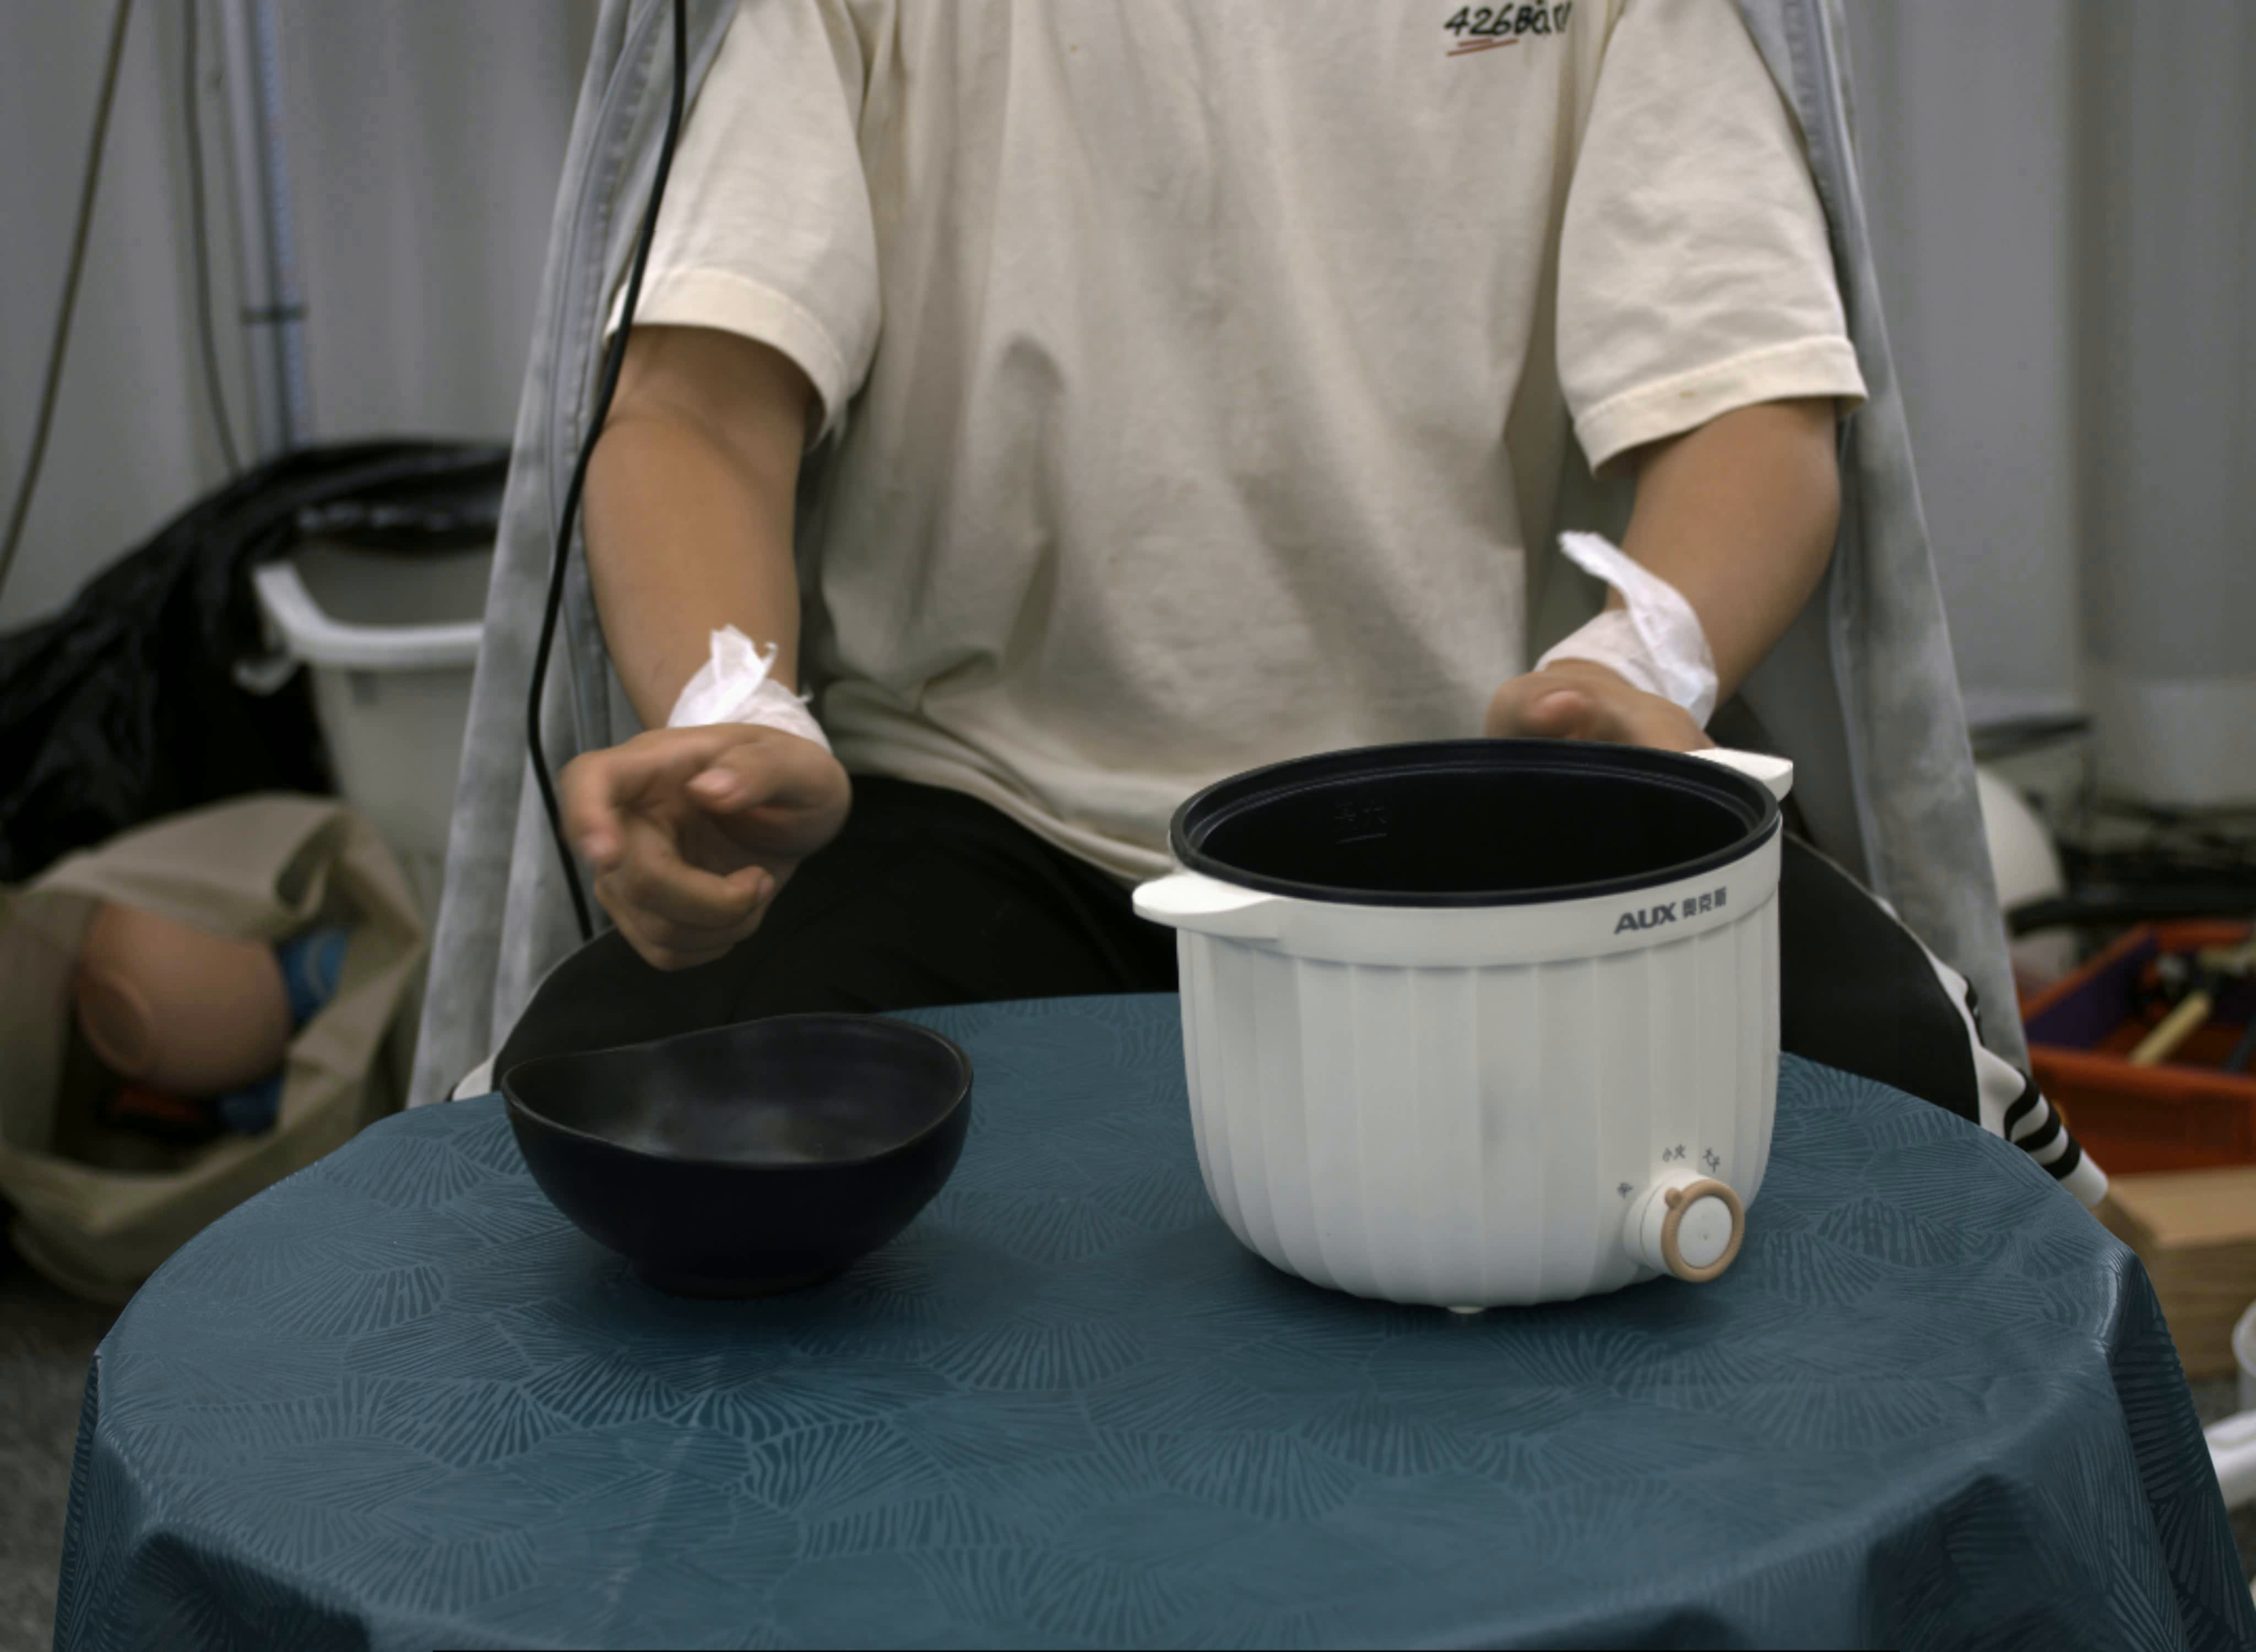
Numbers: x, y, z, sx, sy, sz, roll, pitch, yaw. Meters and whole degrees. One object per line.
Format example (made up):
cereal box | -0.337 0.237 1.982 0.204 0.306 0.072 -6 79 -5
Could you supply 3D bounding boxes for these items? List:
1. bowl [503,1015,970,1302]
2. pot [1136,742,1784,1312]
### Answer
bowl | -0.119 0.104 1.659 0.137 0.066 0.171 -9 15 -27
pot | 0.109 0.061 1.633 0.239 0.142 0.191 -14 14 -34
